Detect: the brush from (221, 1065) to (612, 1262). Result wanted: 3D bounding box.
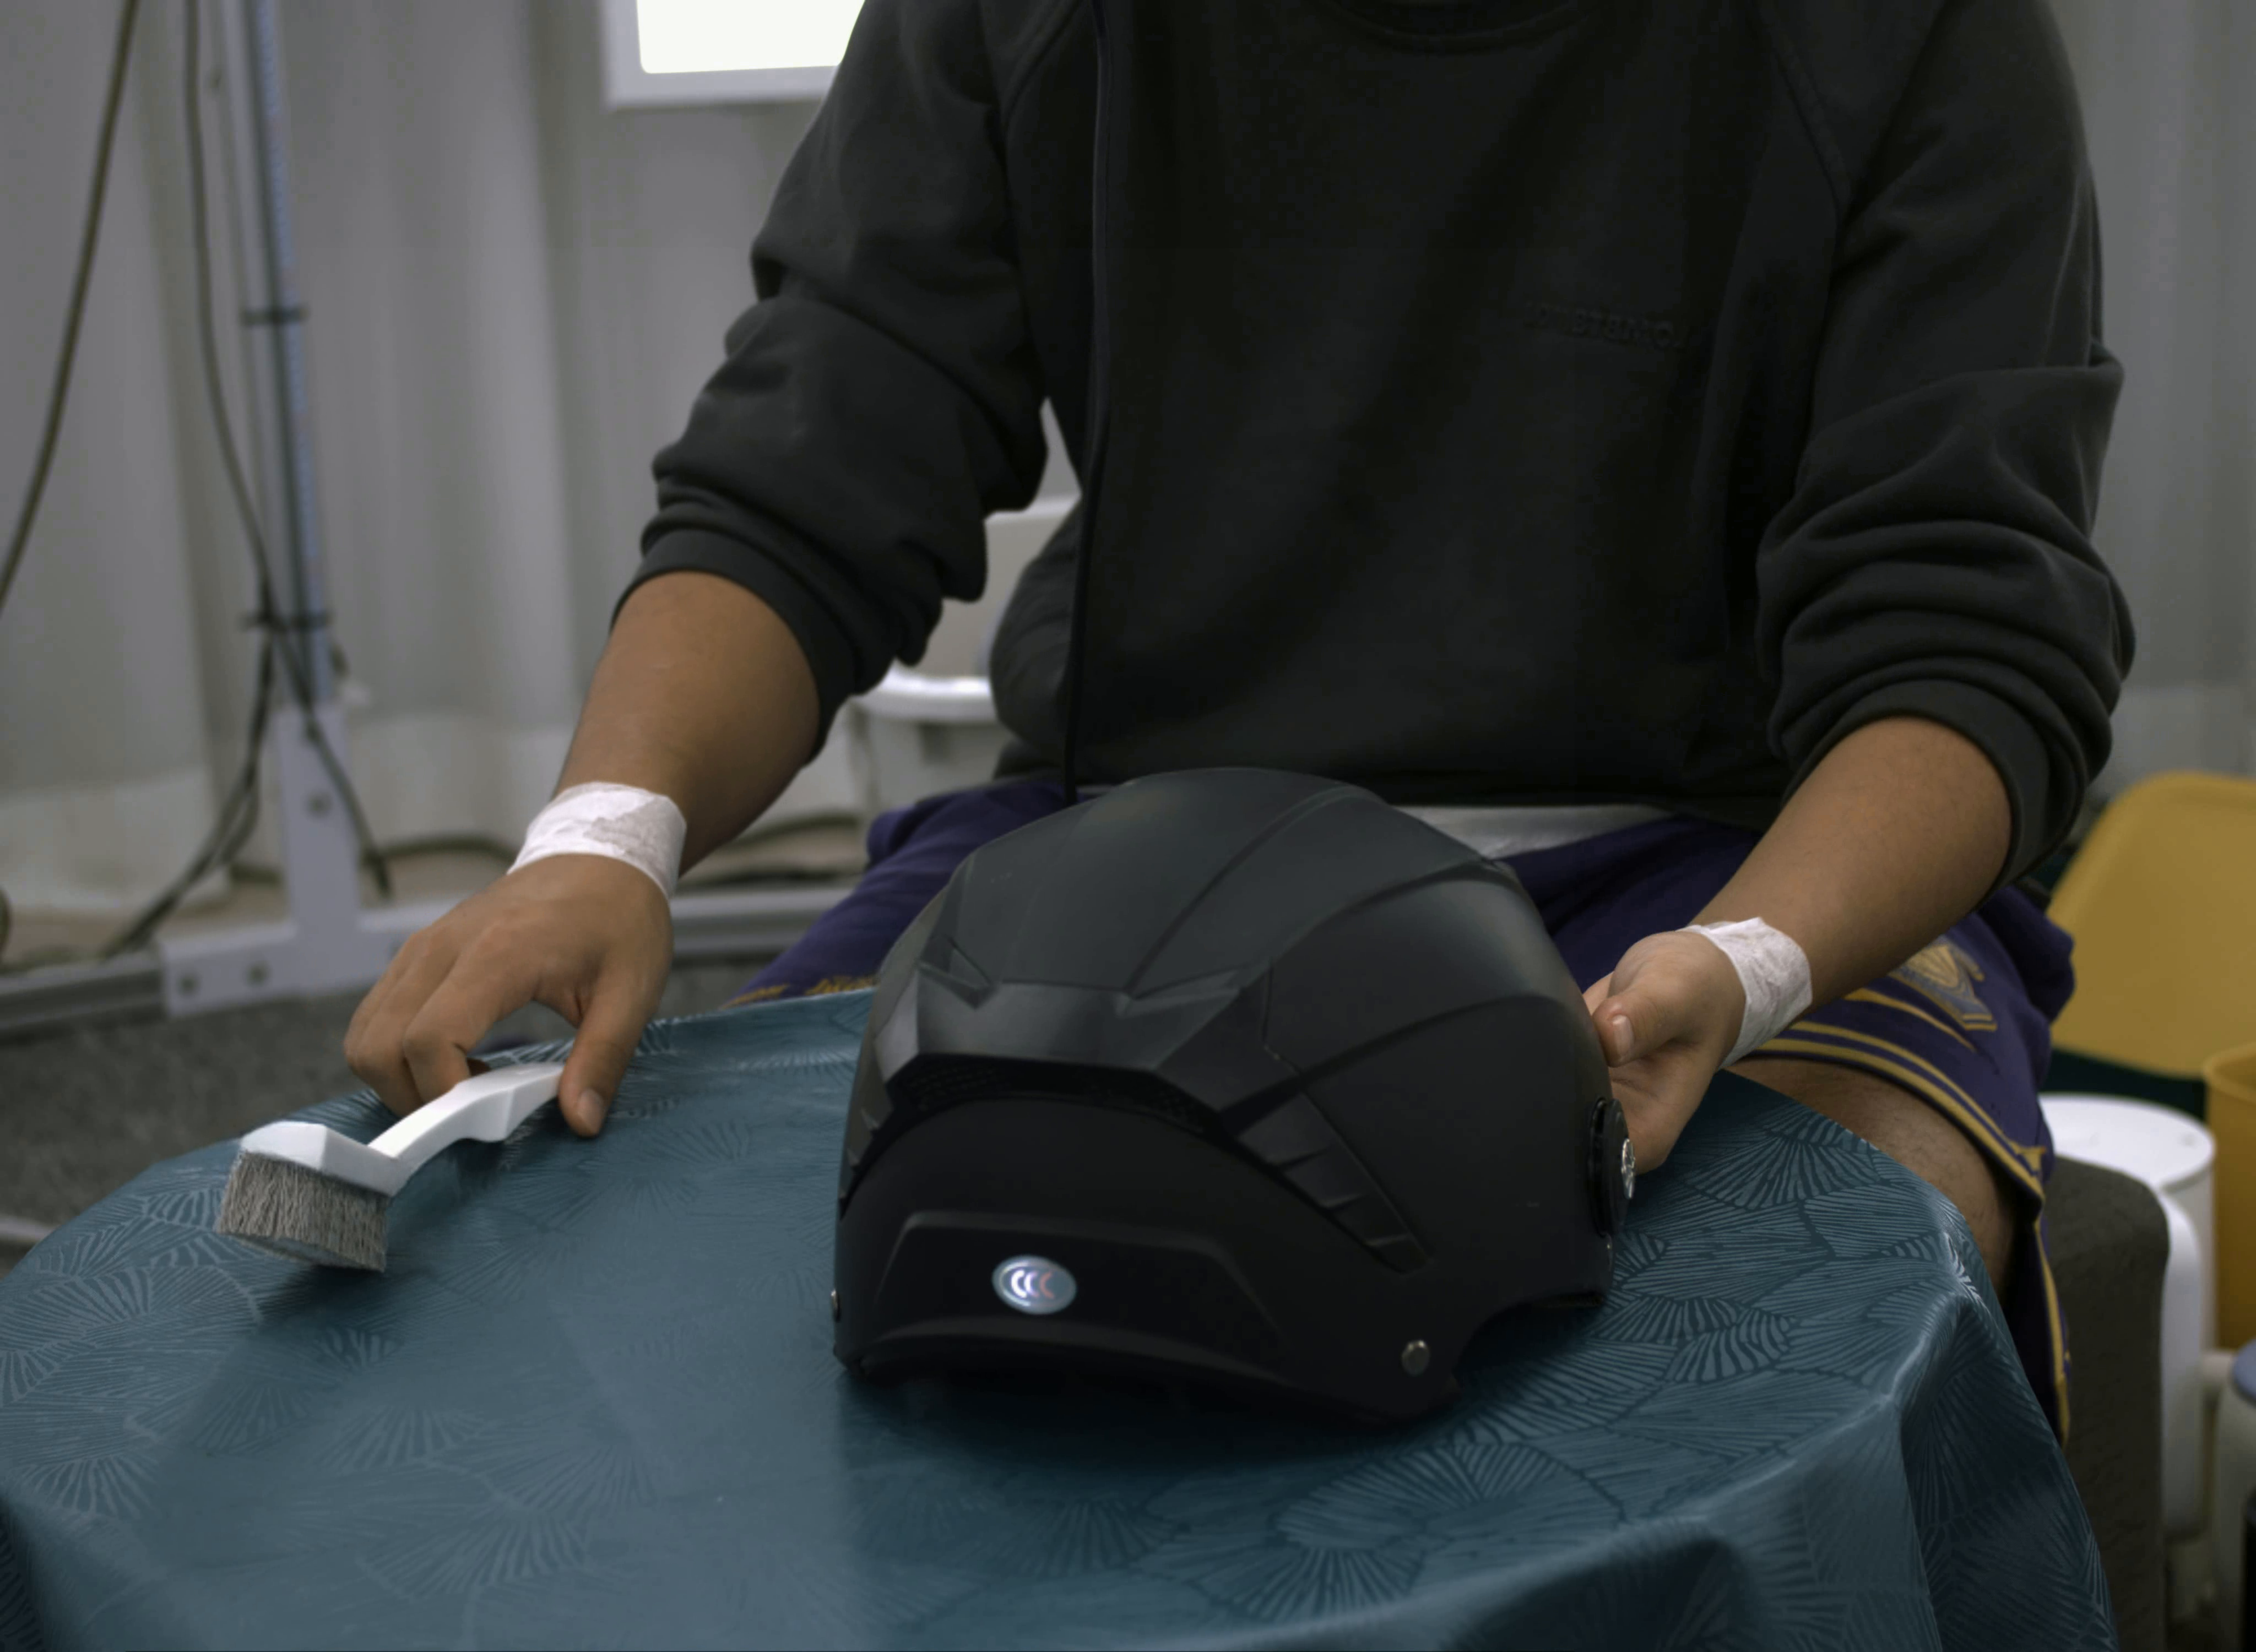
[{"bbox_3d":[-0.221,0.107,1.743,0.034,0.050,0.243,1,2,18],"label":"brush"}]

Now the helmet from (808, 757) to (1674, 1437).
[{"bbox_3d":[0.031,0.066,1.586,0.247,0.171,0.278,4,20,24],"label":"helmet"}]
